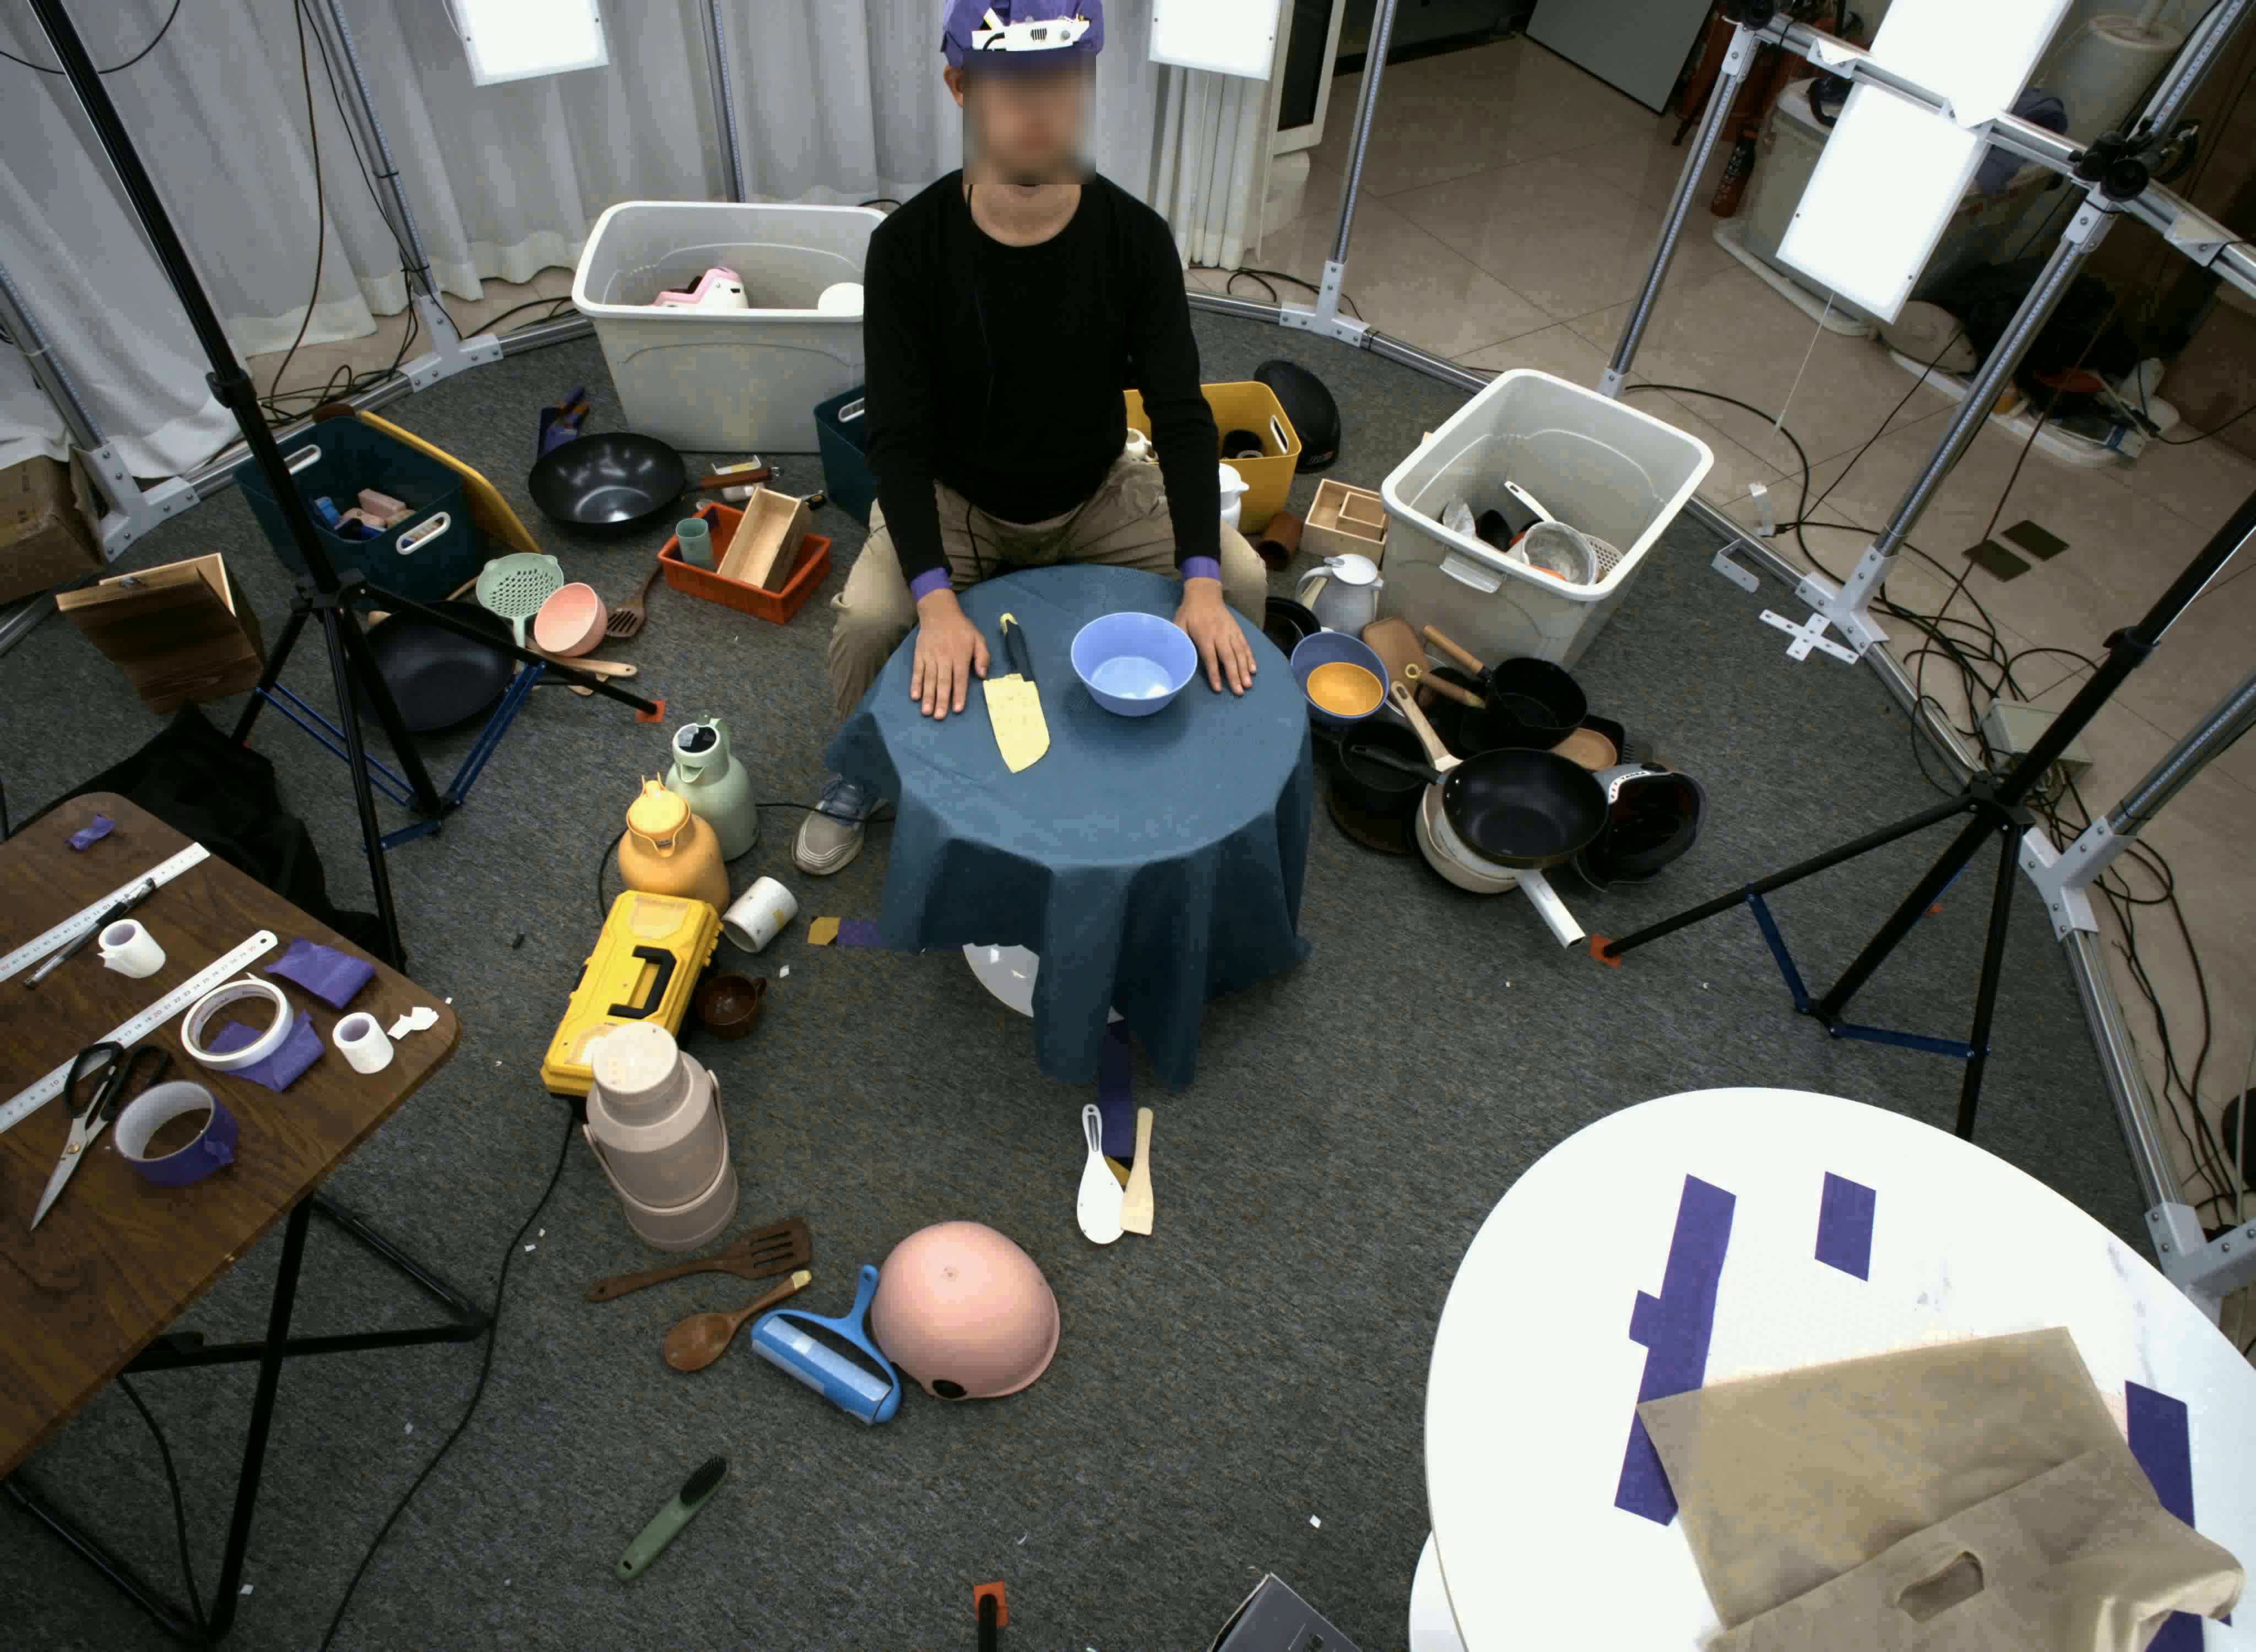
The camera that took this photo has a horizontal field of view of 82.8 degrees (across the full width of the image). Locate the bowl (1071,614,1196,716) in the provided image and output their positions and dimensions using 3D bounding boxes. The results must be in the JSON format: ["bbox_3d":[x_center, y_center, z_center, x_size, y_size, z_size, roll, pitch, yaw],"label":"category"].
[{"bbox_3d":[0.006,-0.218,1.815,0.176,0.068,0.180,1,49,-2],"label":"bowl"}]

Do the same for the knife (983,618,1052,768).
[{"bbox_3d":[-0.162,-0.191,1.816,0.081,0.026,0.297,-5,51,-10],"label":"knife"}]
